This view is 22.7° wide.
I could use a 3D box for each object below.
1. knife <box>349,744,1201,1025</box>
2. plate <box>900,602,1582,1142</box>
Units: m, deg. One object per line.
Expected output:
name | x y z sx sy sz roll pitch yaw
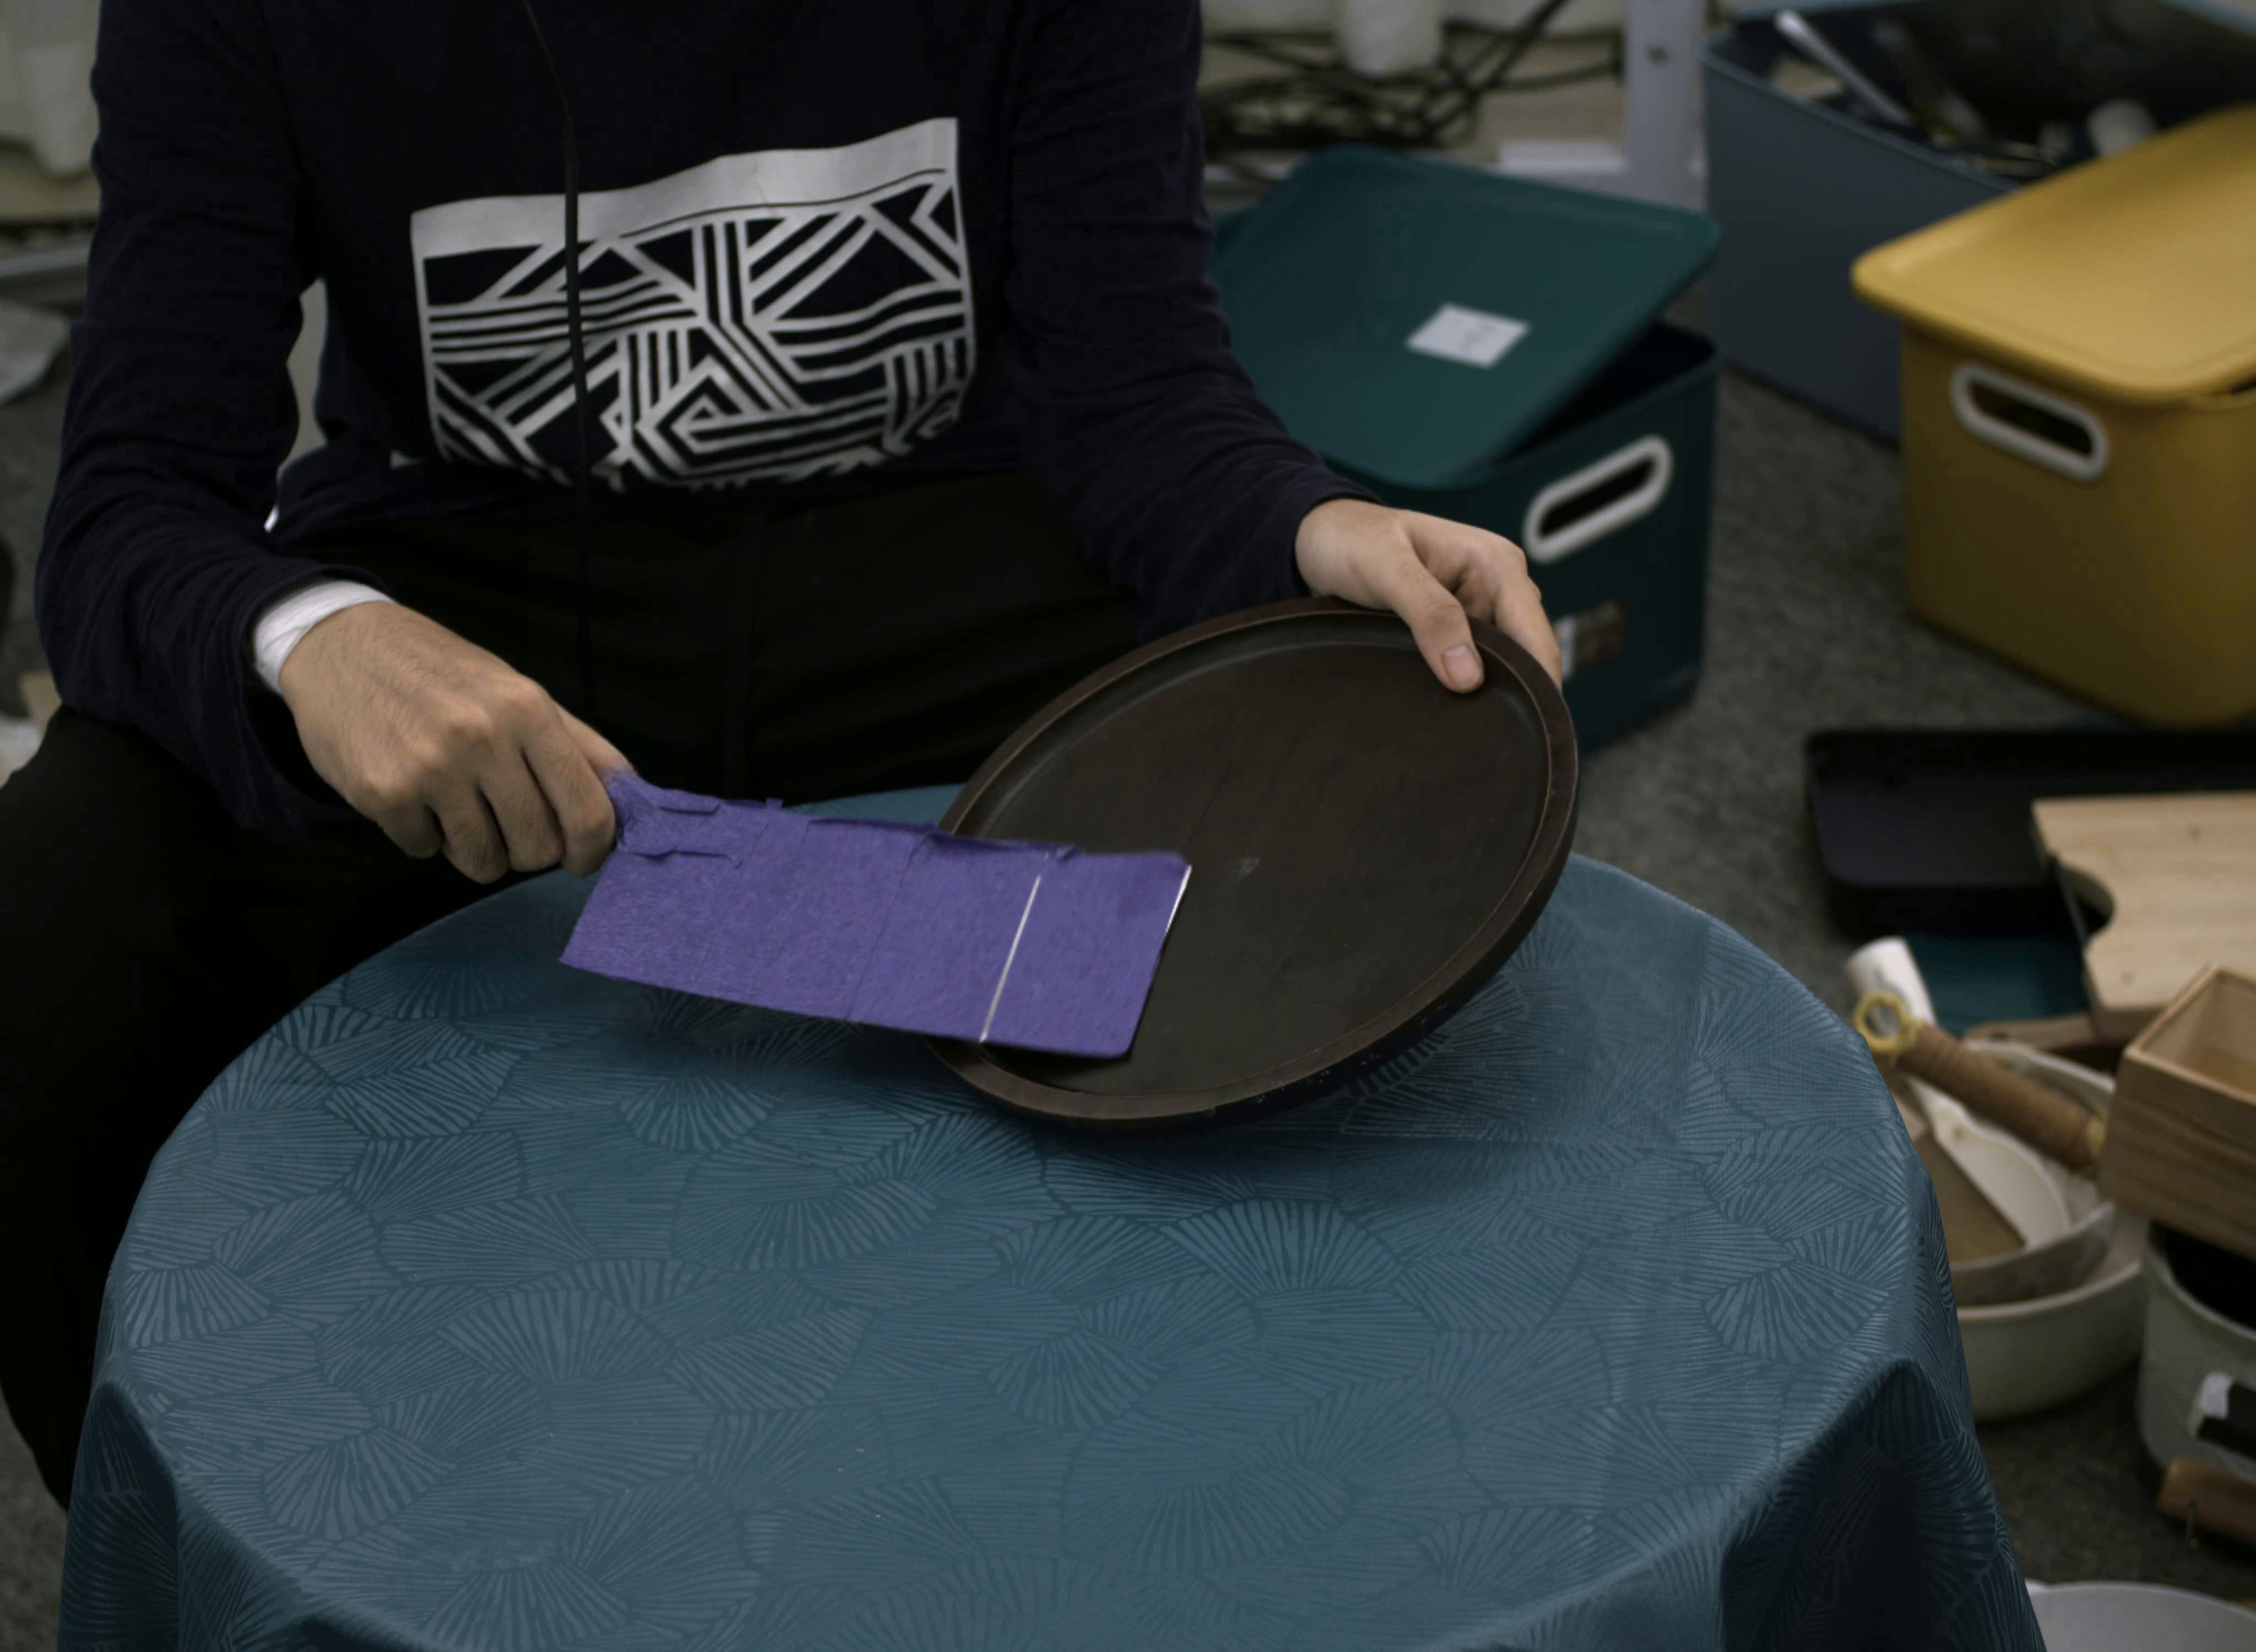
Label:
knife | -0.135 0.021 1.964 0.313 0.032 0.106 5 46 15
plate | 0.038 0.014 1.950 0.252 0.029 0.260 -15 40 14
